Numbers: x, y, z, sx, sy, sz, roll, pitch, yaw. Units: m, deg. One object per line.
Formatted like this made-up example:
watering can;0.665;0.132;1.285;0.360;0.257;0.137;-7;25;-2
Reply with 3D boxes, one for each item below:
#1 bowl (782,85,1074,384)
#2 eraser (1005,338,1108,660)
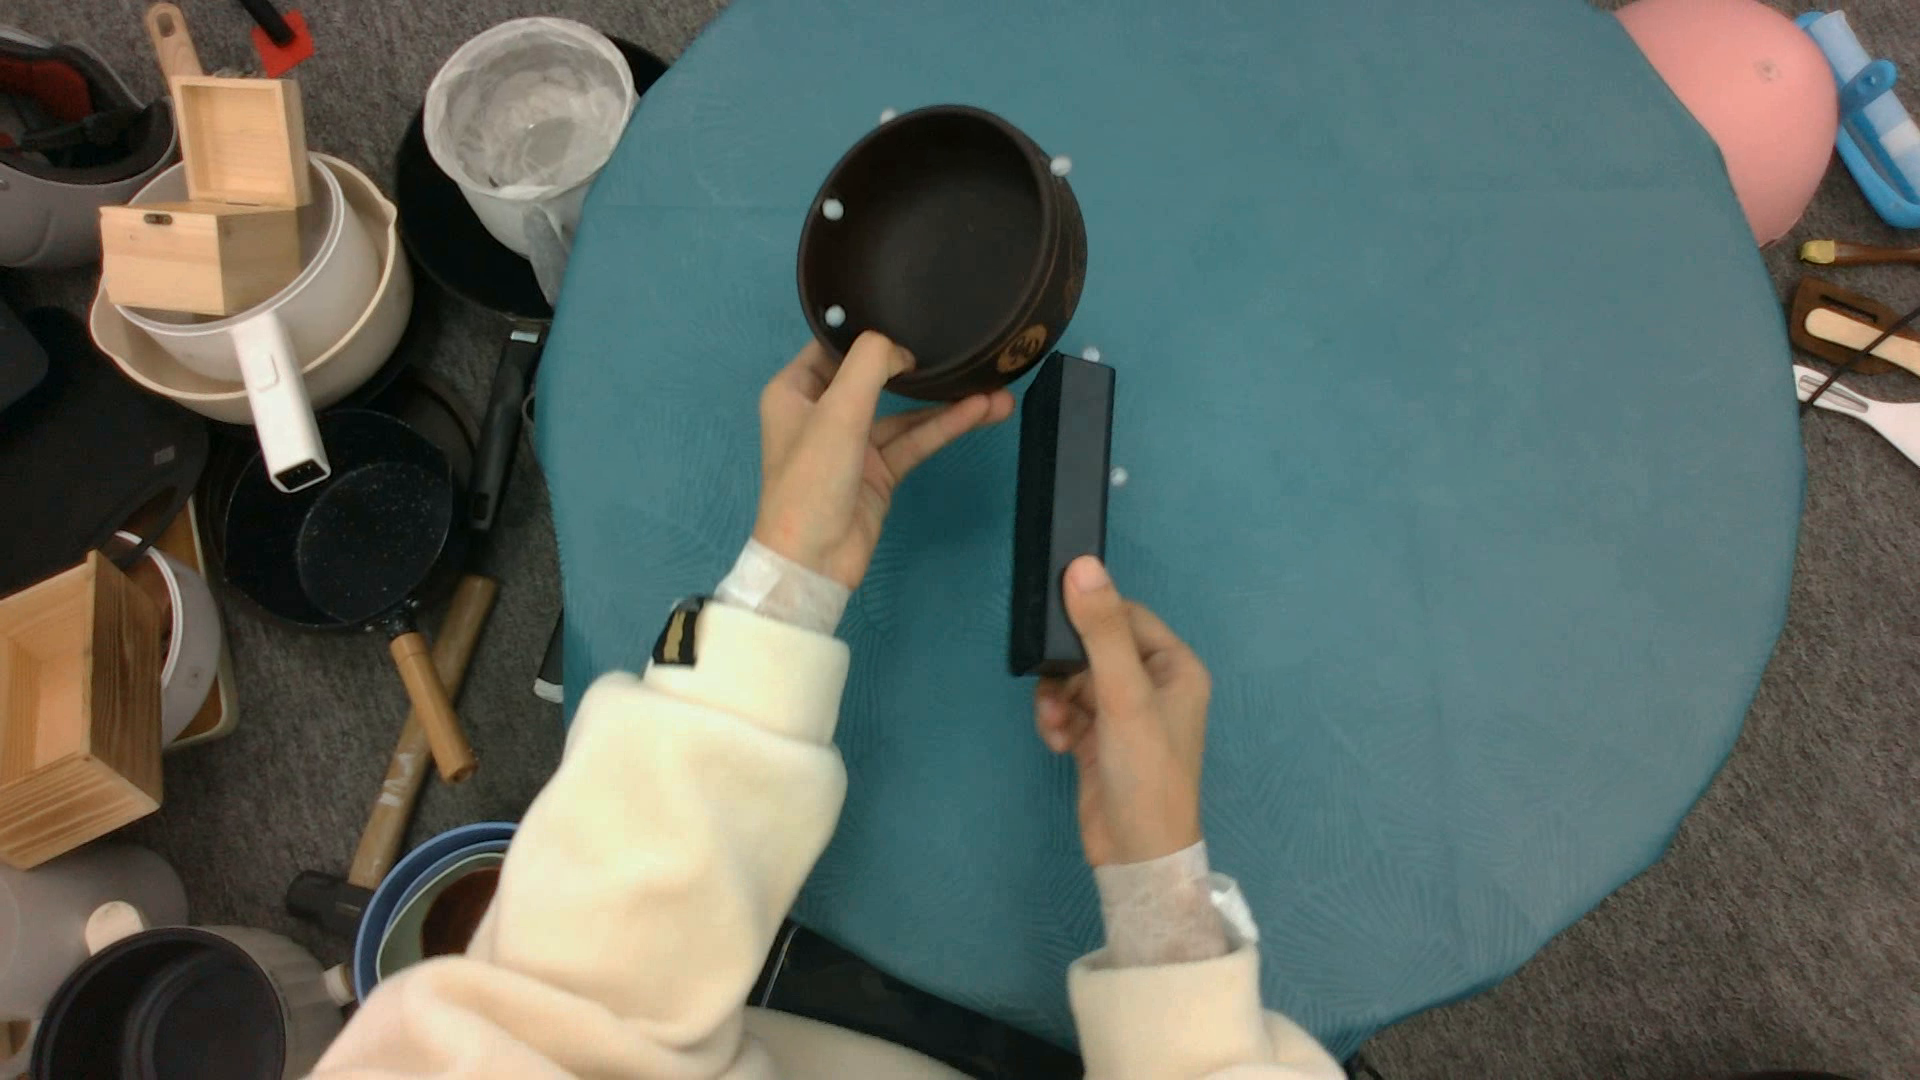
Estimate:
bowl;-0.007;-0.121;0.573;0.118;0.070;0.118;-4;81;23
eraser;0.039;-0.017;0.558;0.030;0.053;0.126;6;78;-4
